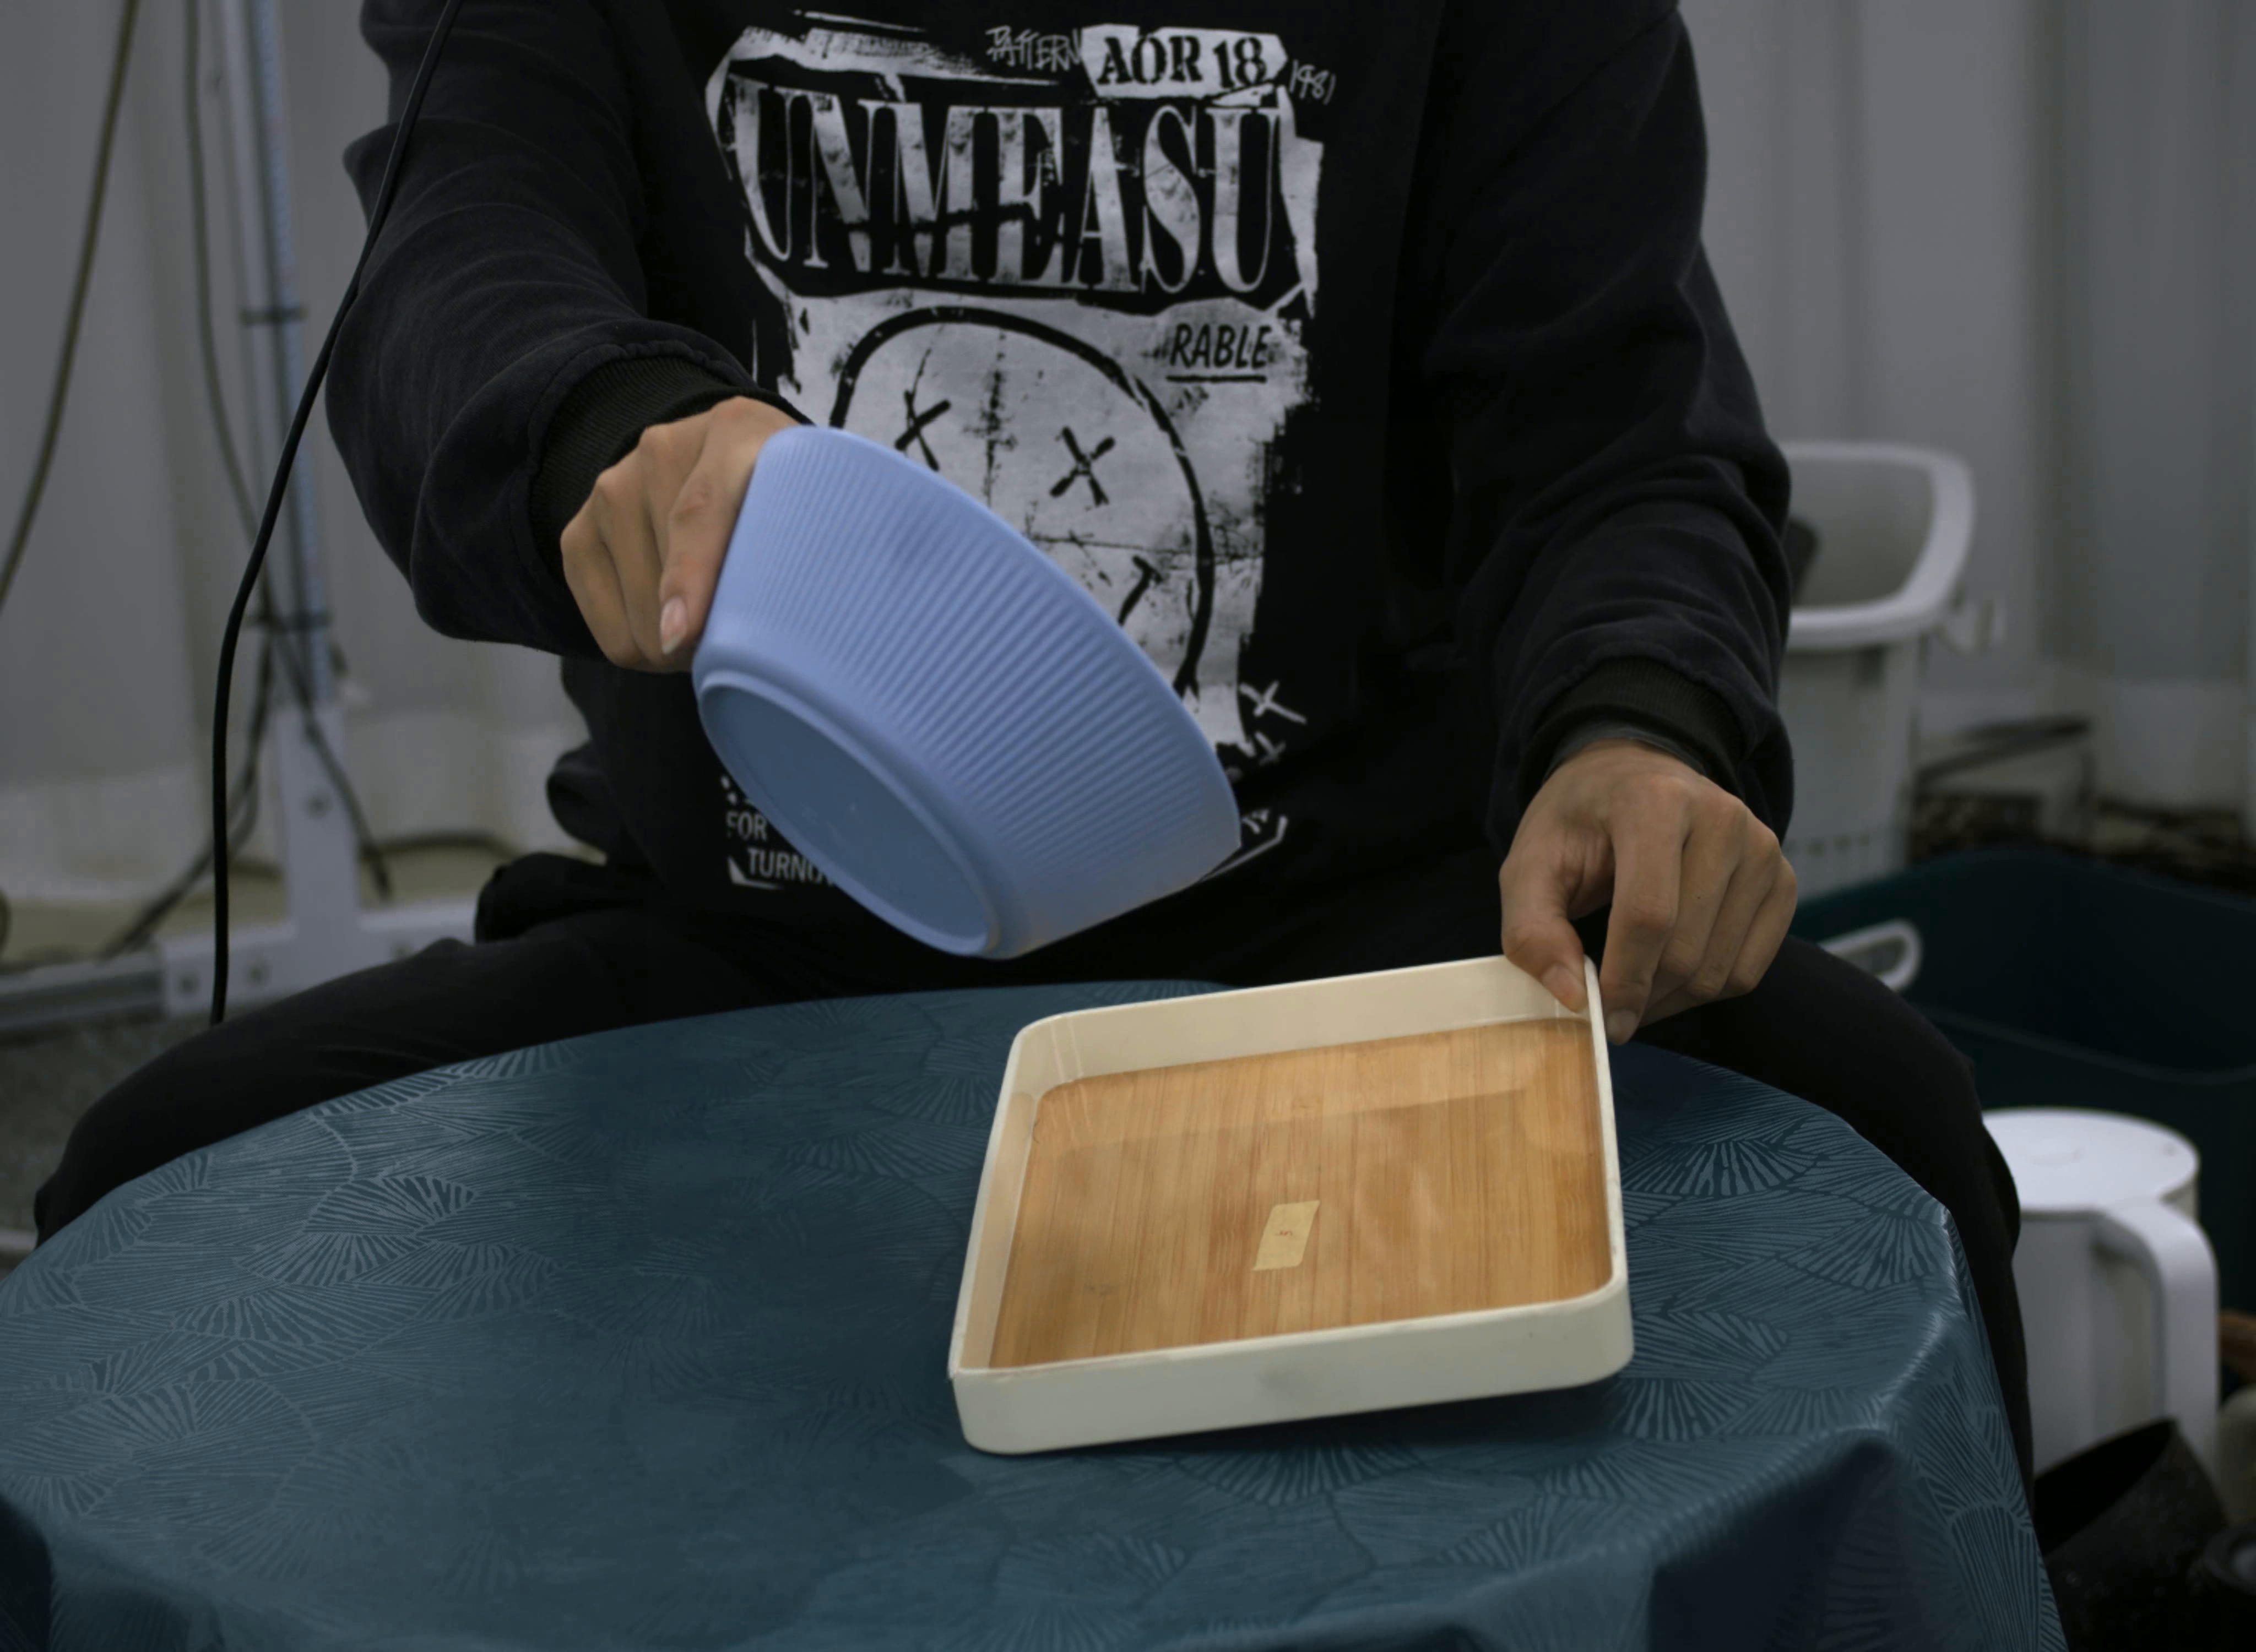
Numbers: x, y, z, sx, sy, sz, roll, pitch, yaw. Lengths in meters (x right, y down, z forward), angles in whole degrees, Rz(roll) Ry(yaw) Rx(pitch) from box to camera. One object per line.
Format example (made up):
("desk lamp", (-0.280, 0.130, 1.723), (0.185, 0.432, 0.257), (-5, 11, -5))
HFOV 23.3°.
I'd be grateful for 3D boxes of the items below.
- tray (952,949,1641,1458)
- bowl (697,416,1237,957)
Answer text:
("tray", (0.052, 0.108, 1.628), (0.191, 0.027, 0.302), (-8, 17, 5))
("bowl", (-0.057, -0.027, 1.523), (0.070, 0.174, 0.177), (-46, 33, -19))
